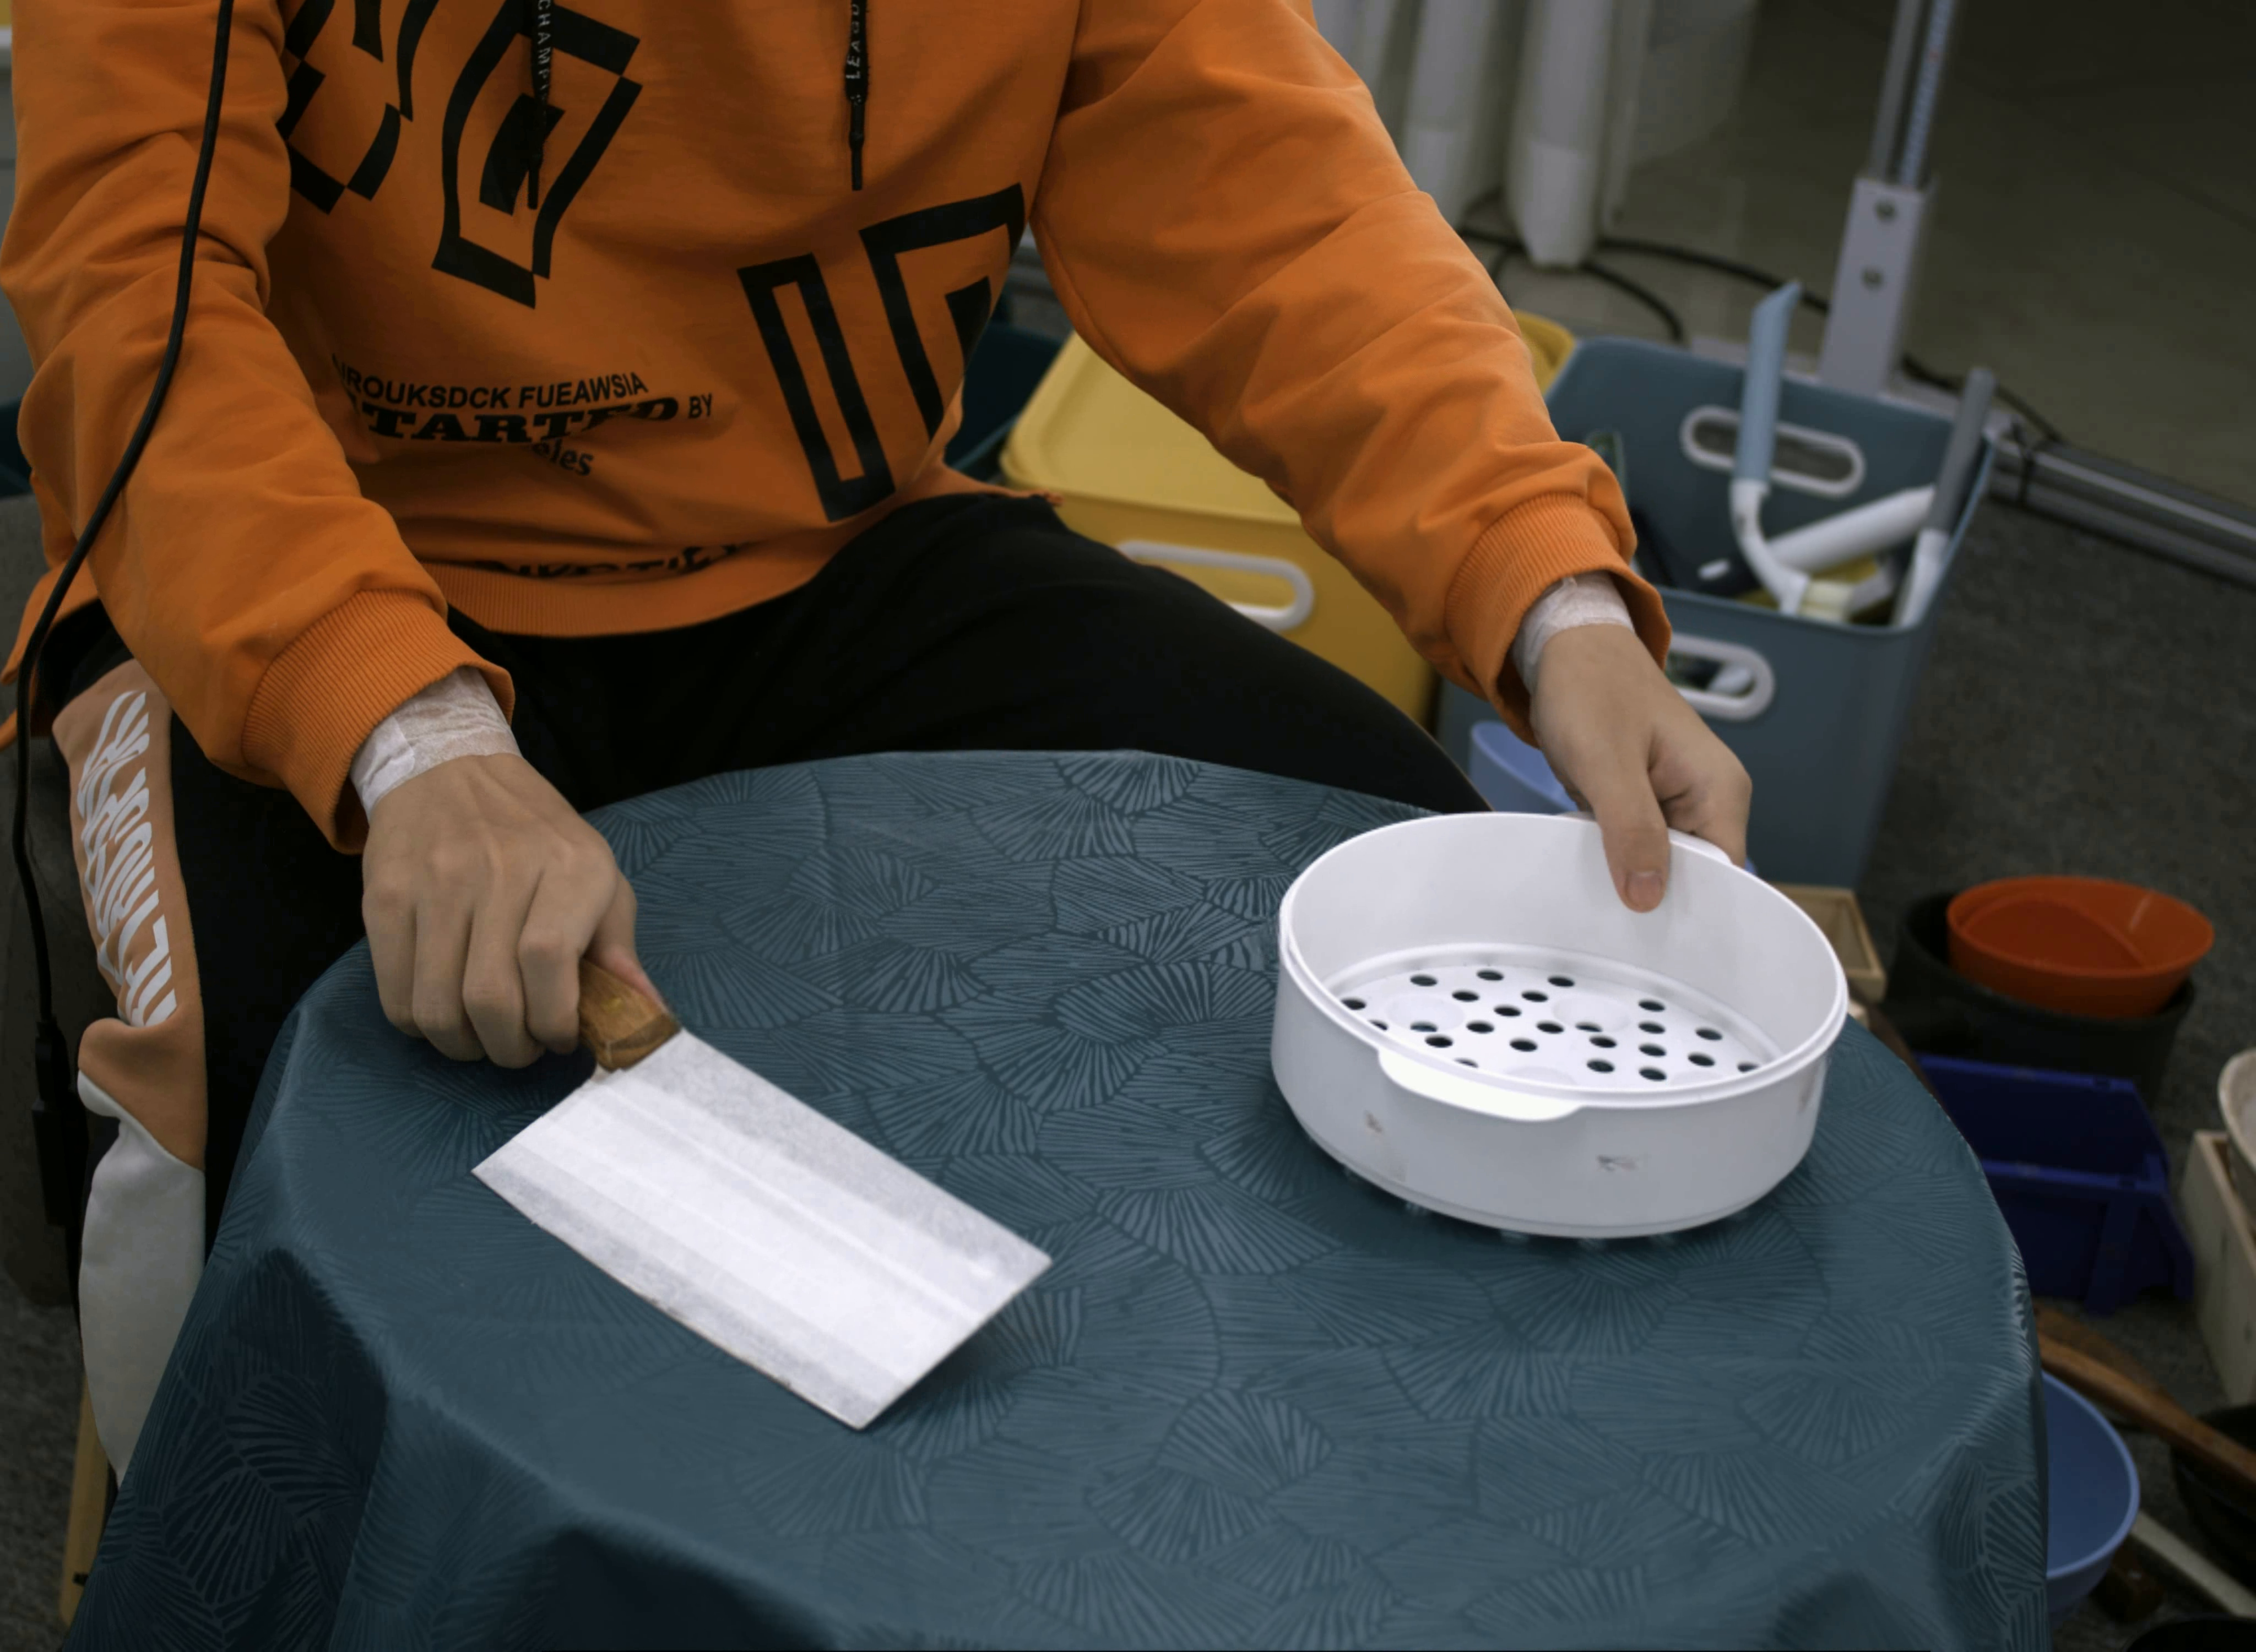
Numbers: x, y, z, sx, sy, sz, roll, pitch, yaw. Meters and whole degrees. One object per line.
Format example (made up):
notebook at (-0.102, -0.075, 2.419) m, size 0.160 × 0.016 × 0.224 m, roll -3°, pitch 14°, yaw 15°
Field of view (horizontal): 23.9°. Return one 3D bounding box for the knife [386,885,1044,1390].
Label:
knife at (-0.160, 0.104, 1.767) m, size 0.308 × 0.021 × 0.093 m, roll 29°, pitch 54°, yaw 36°

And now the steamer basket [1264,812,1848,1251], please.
steamer basket at (0.147, 0.073, 1.858) m, size 0.202 × 0.069 × 0.231 m, roll 14°, pitch 30°, yaw 17°
